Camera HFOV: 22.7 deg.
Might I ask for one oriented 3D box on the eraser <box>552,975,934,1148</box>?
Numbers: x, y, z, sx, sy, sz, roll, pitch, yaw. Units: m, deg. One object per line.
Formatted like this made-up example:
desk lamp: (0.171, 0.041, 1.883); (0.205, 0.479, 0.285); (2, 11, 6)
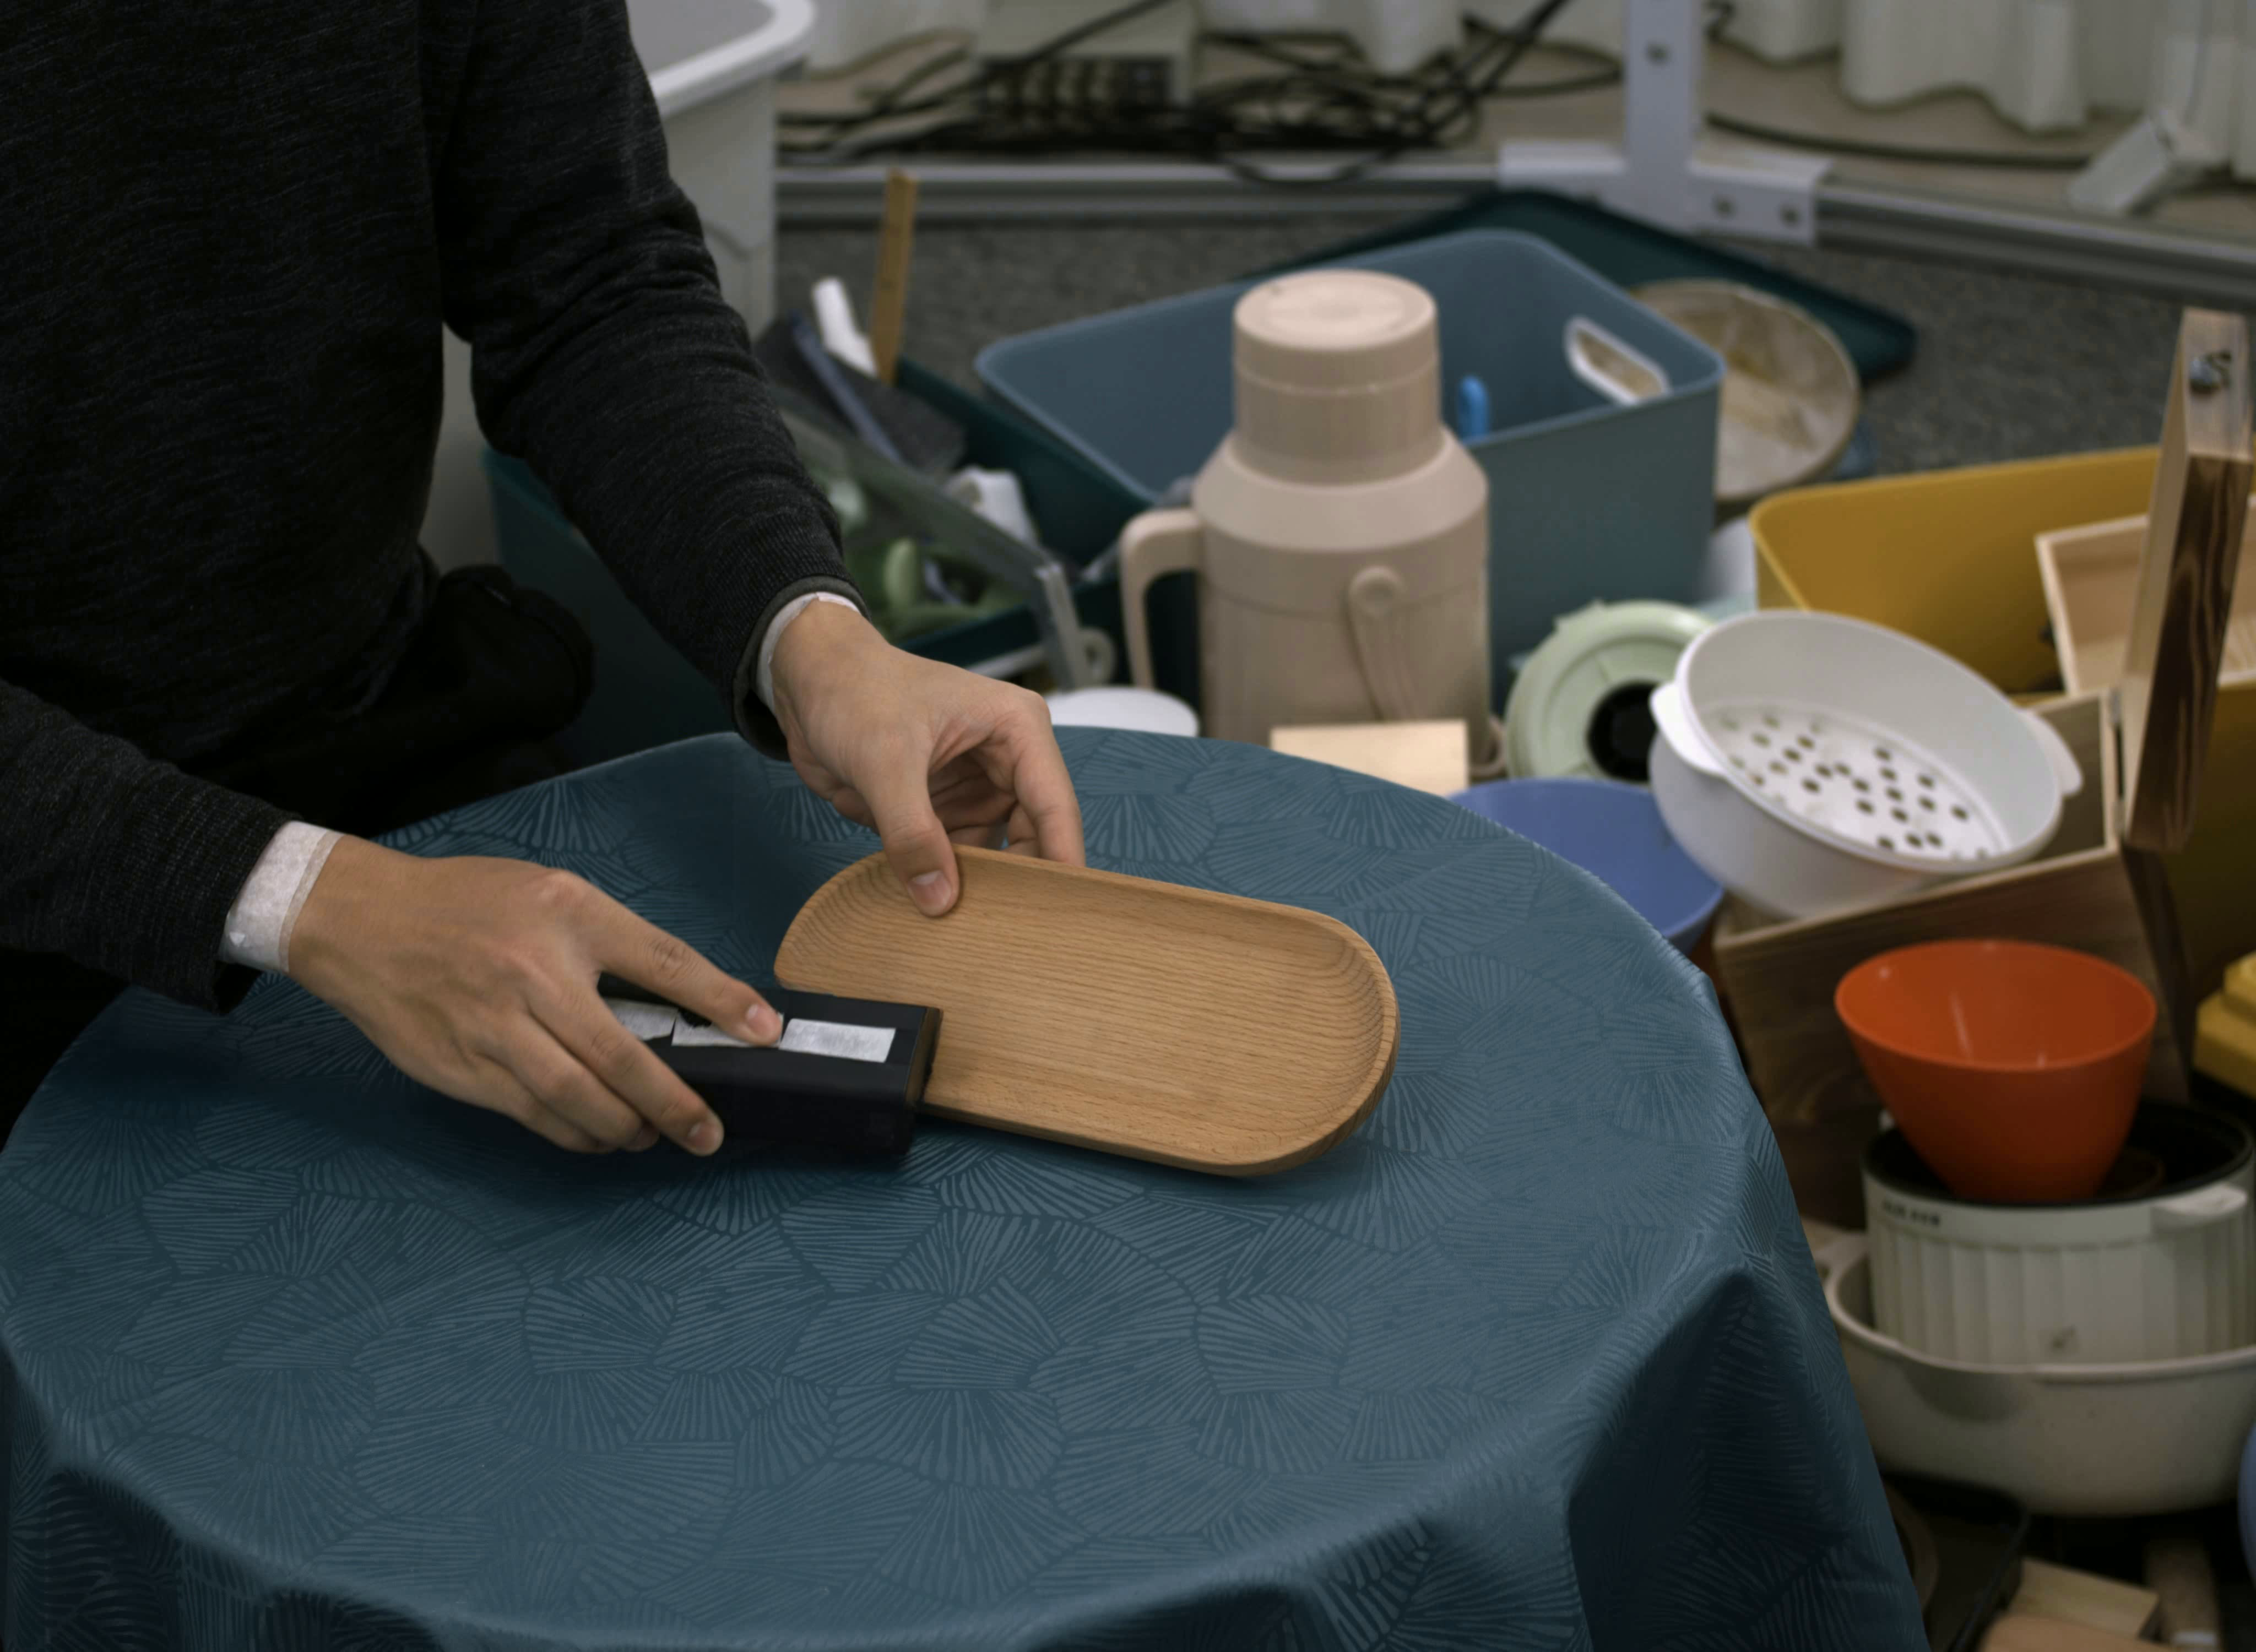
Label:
eraser: (-0.128, 0.079, 1.892); (0.125, 0.030, 0.054); (4, 35, 3)

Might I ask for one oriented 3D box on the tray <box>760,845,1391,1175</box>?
tray: (-0.019, 0.063, 1.914); (0.229, 0.020, 0.103); (9, 58, 25)
